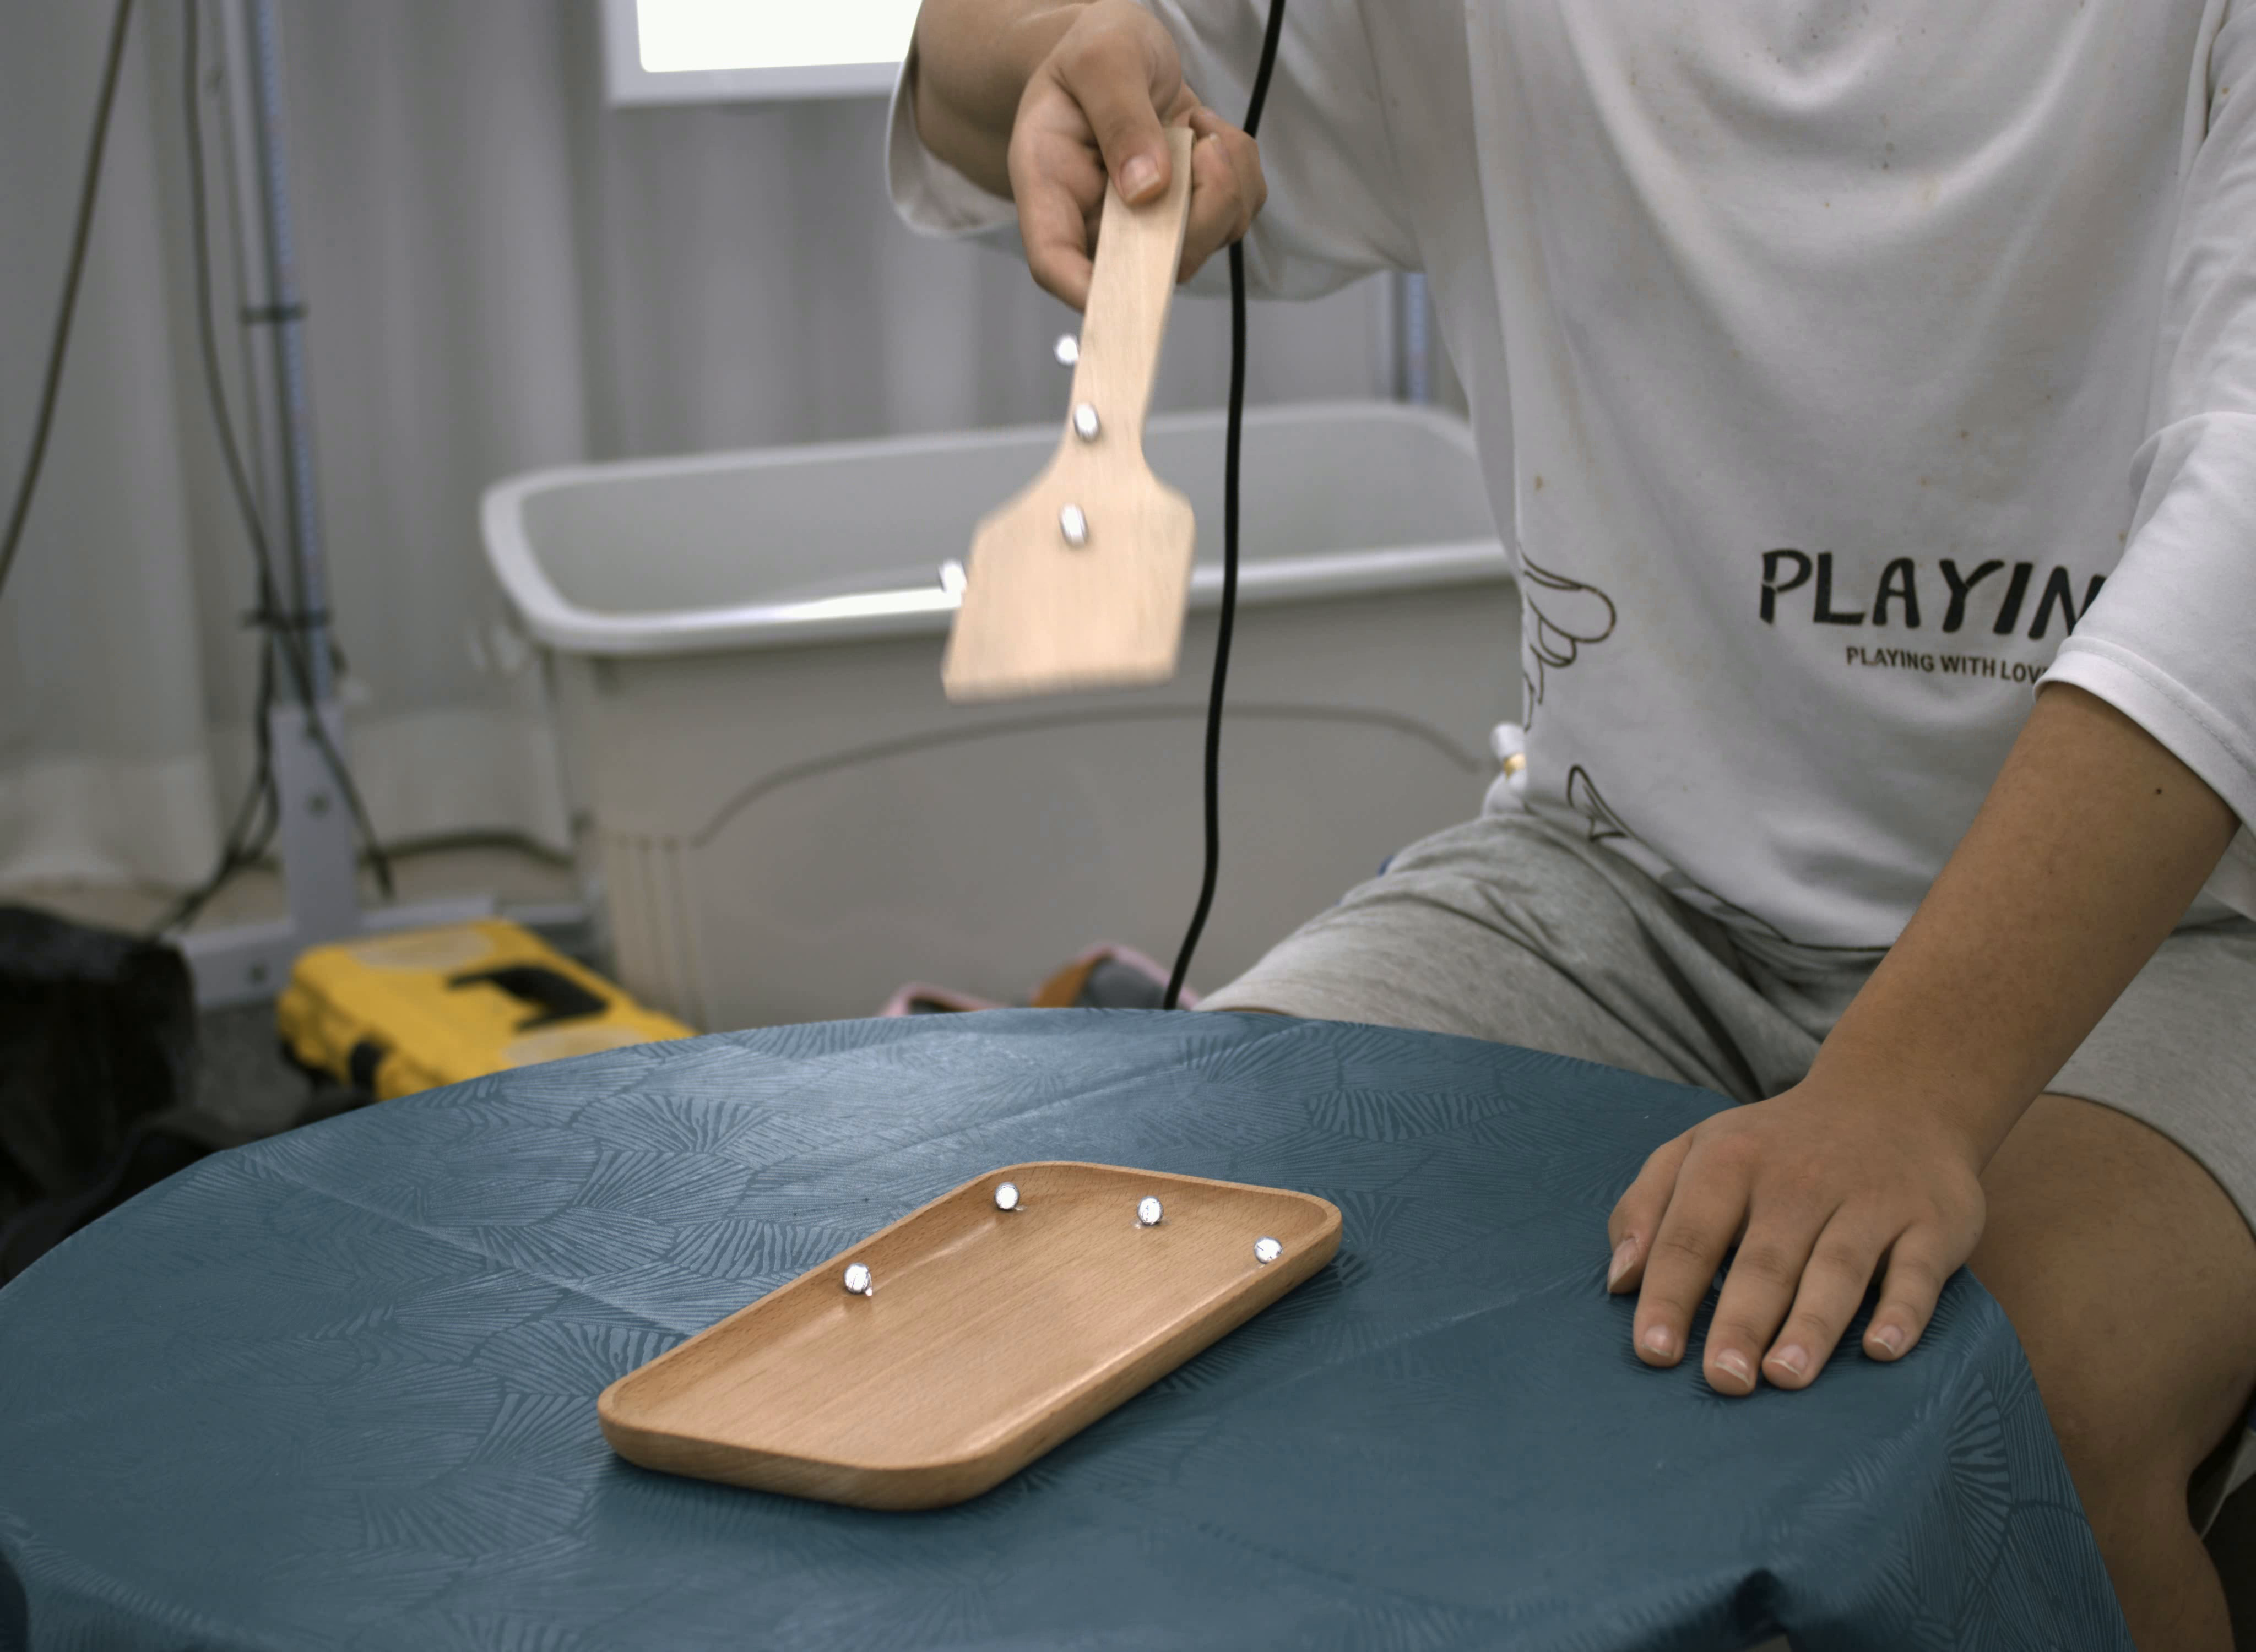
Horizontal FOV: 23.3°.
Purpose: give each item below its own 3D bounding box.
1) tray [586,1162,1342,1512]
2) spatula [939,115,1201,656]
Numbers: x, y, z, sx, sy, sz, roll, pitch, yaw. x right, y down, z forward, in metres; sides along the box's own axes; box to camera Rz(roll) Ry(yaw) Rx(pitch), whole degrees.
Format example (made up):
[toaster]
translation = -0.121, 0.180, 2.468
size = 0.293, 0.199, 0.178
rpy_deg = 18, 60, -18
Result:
[tray]
translation = -0.043, 0.145, 1.581
size = 0.131, 0.023, 0.251
rpy_deg = 4, 16, 31
[spatula]
translation = -0.006, -0.141, 1.693
size = 0.072, 0.010, 0.297
rpy_deg = -6, 37, 12
